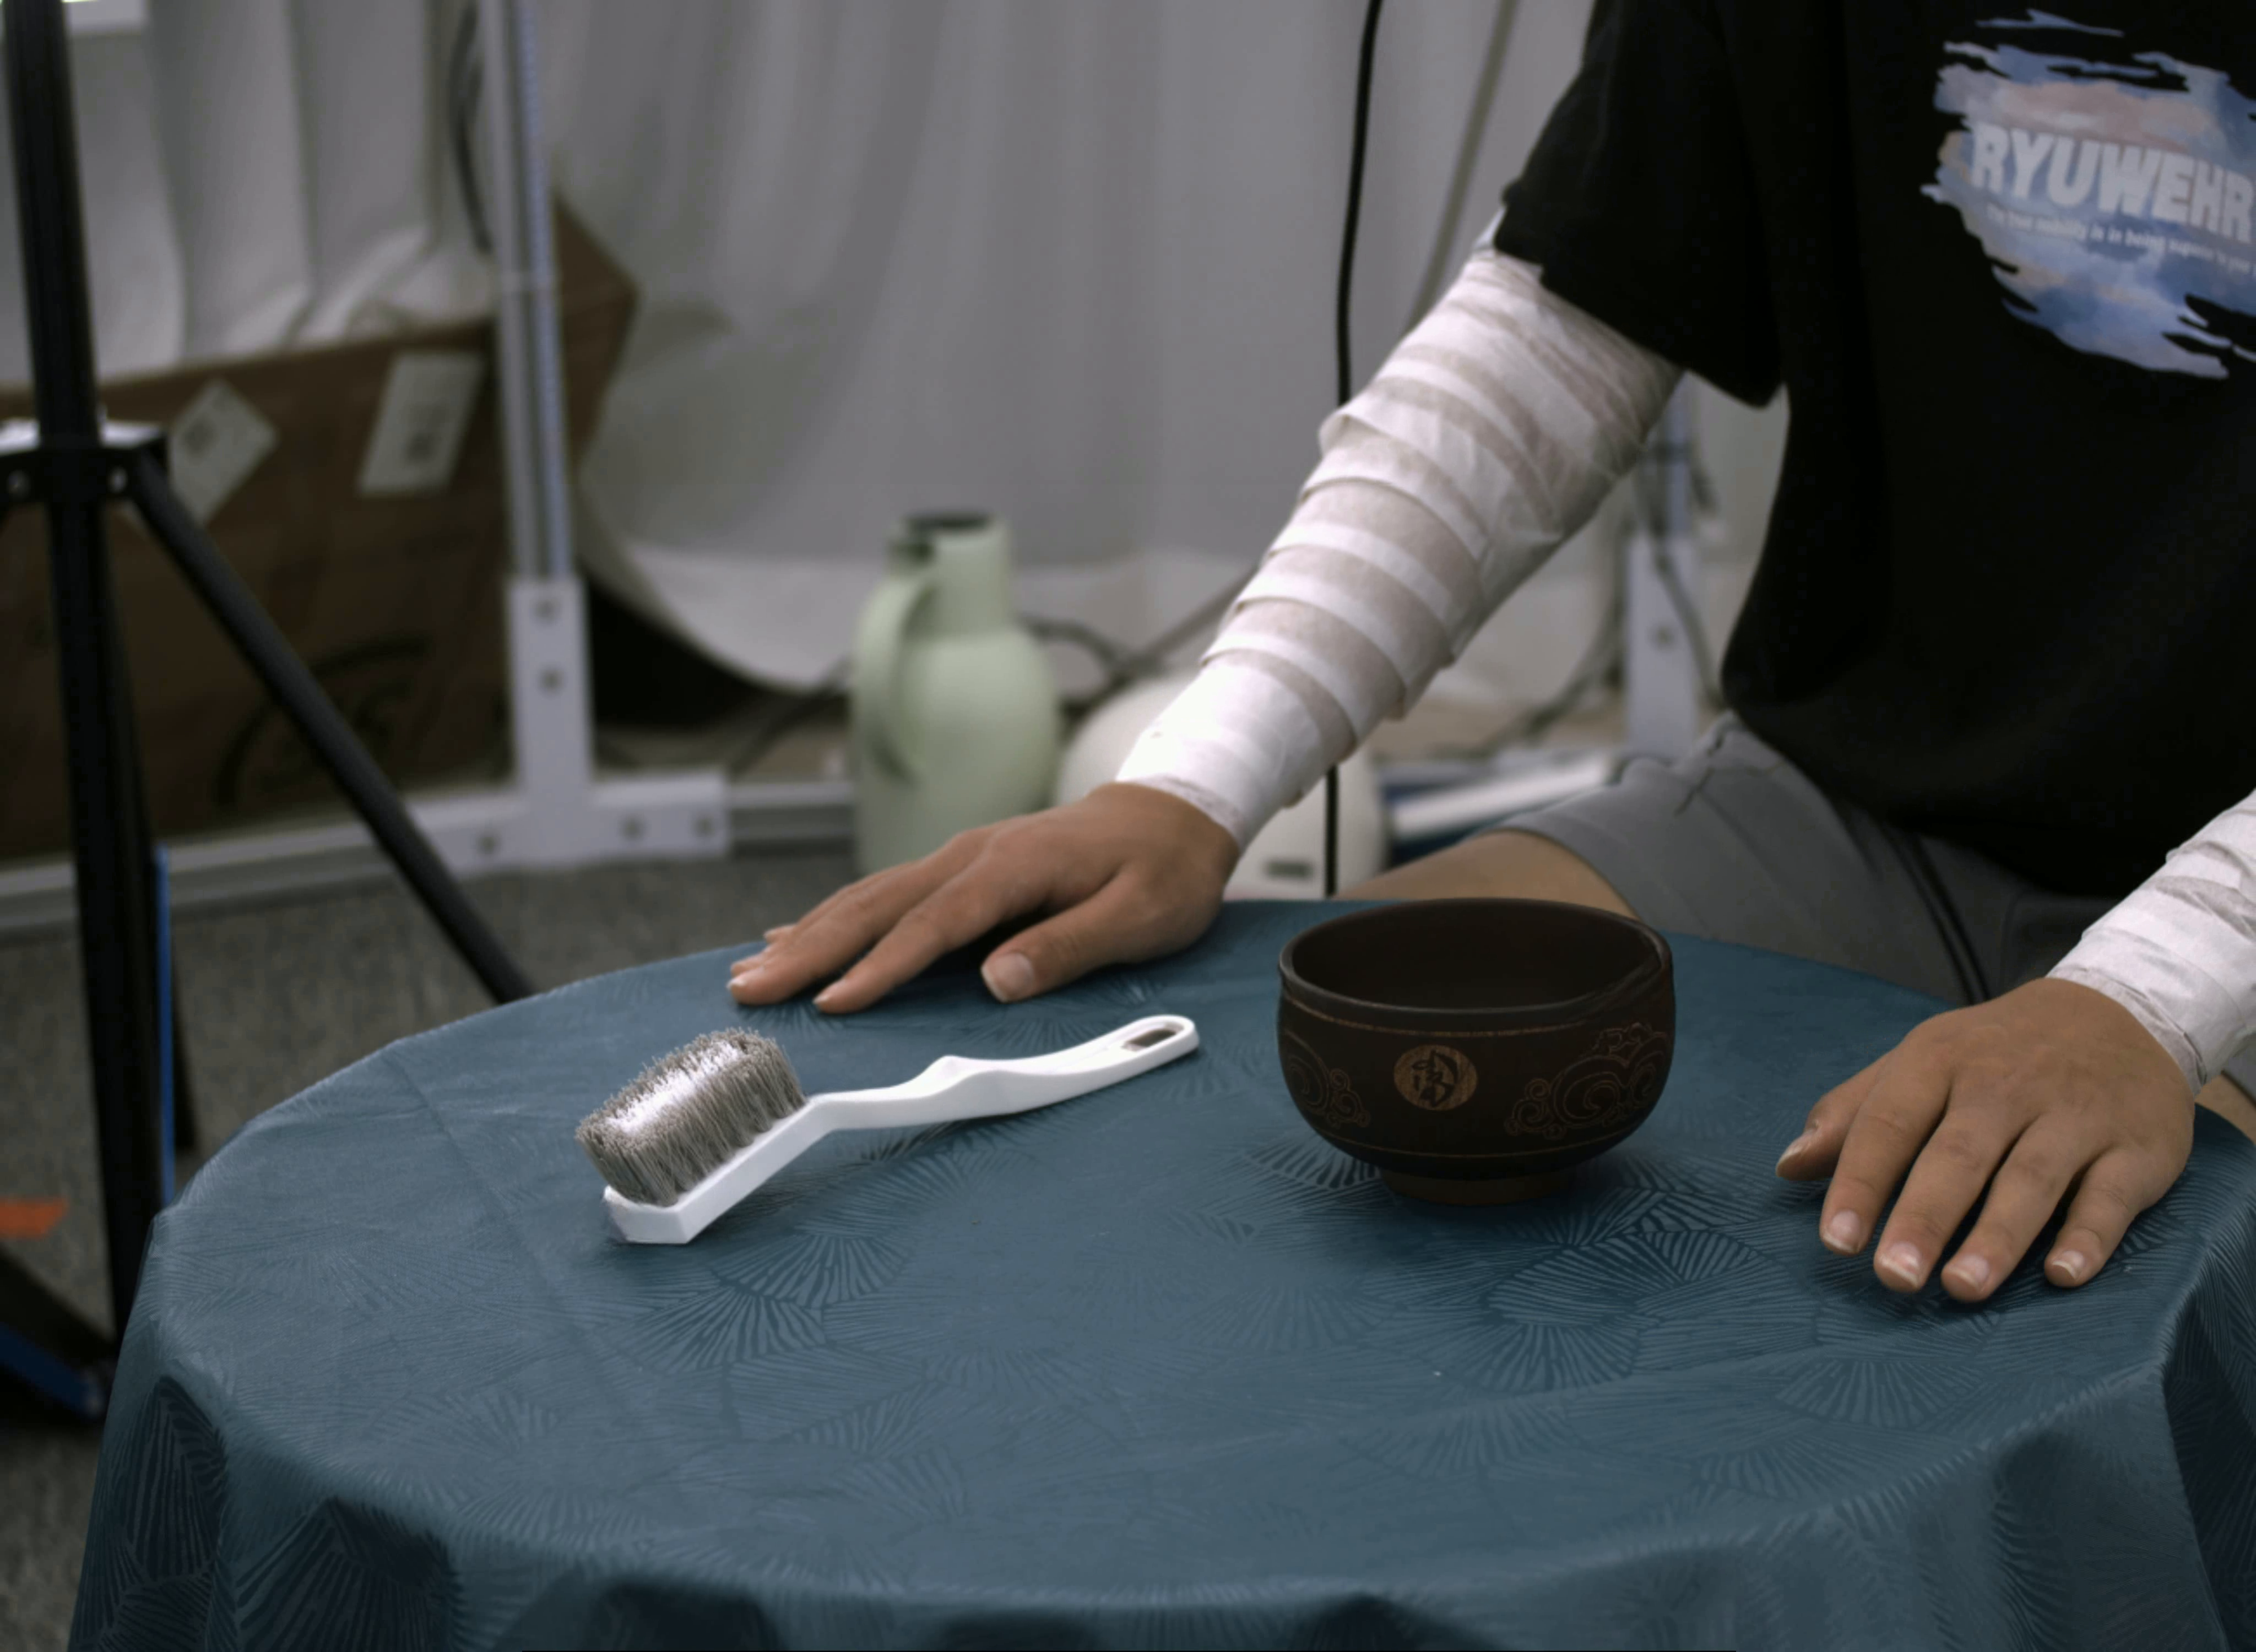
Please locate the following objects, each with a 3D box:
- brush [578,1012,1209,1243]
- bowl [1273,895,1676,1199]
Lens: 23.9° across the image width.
[{"bbox_3d":[-0.064,0.071,1.605,0.238,0.050,0.035,-17,21,-40],"label":"brush"},{"bbox_3d":[0.102,0.068,1.551,0.117,0.070,0.118,-2,13,-1],"label":"bowl"}]
